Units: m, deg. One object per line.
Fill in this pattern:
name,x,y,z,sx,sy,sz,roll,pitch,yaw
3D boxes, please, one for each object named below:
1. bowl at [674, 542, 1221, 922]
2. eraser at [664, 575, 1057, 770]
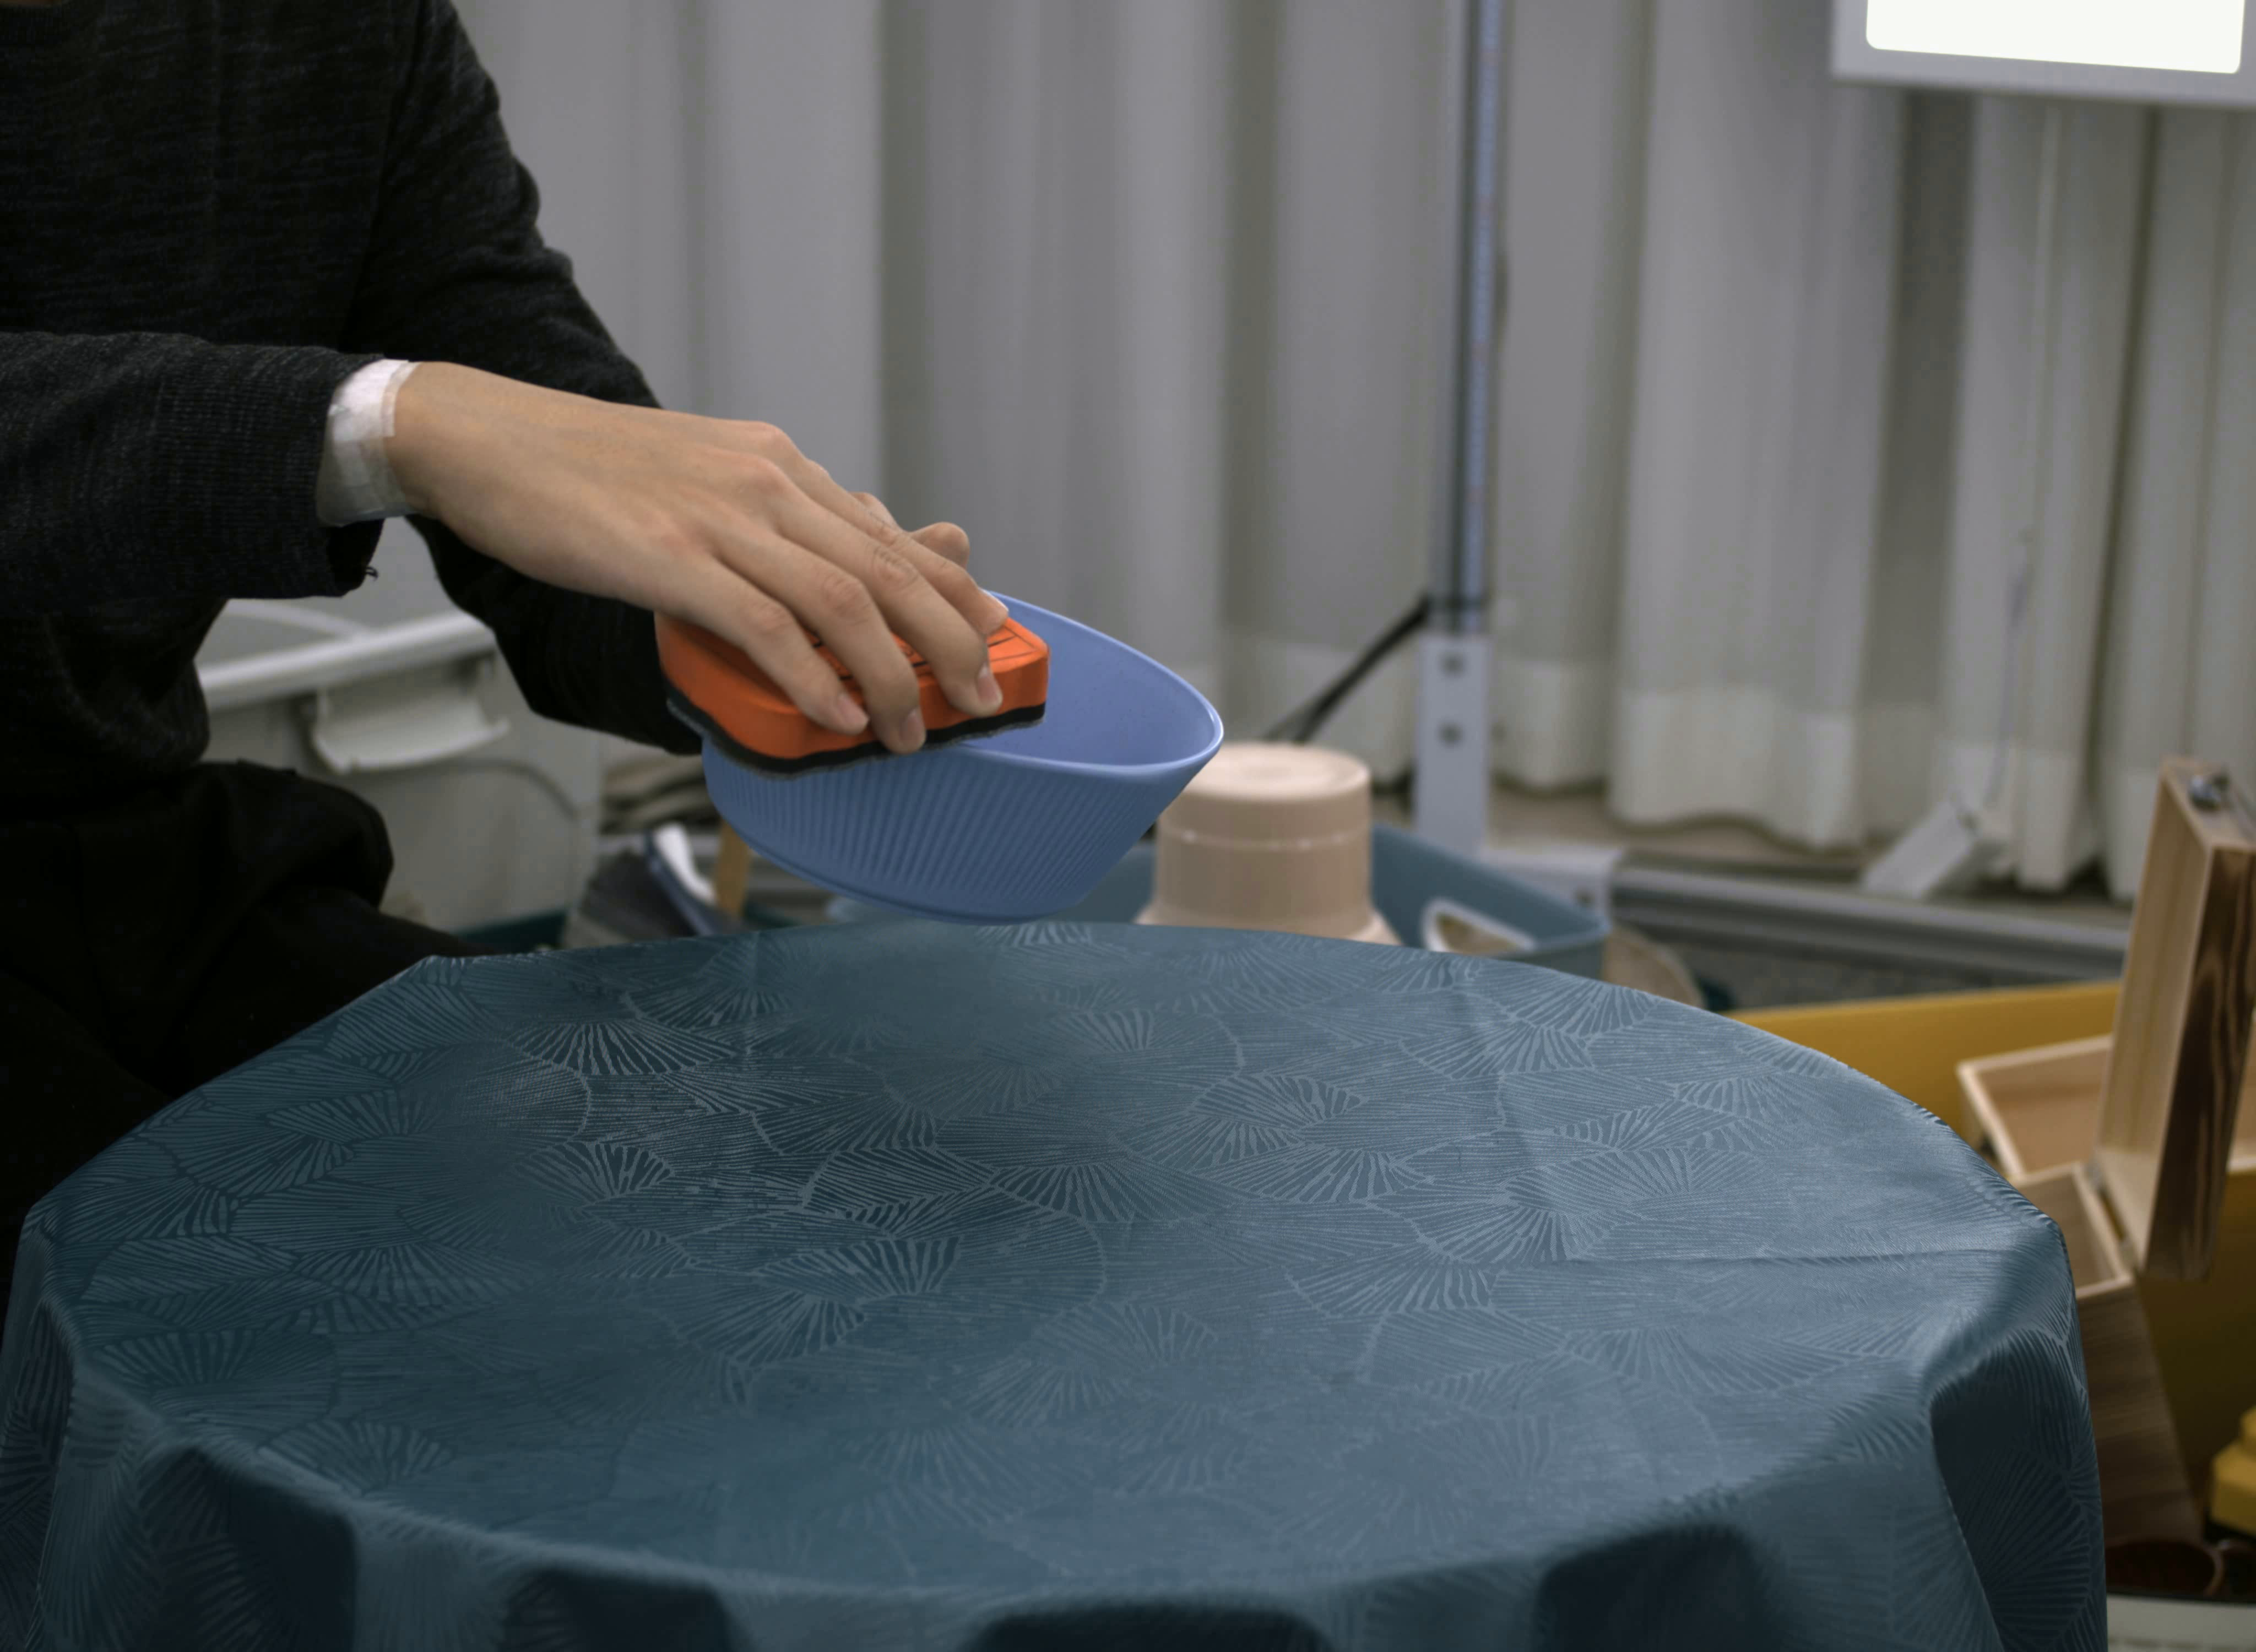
bowl,-0.064,-0.024,1.620,0.176,0.071,0.175,17,17,-5
eraser,-0.077,-0.045,1.526,0.108,0.023,0.058,-13,37,-40
